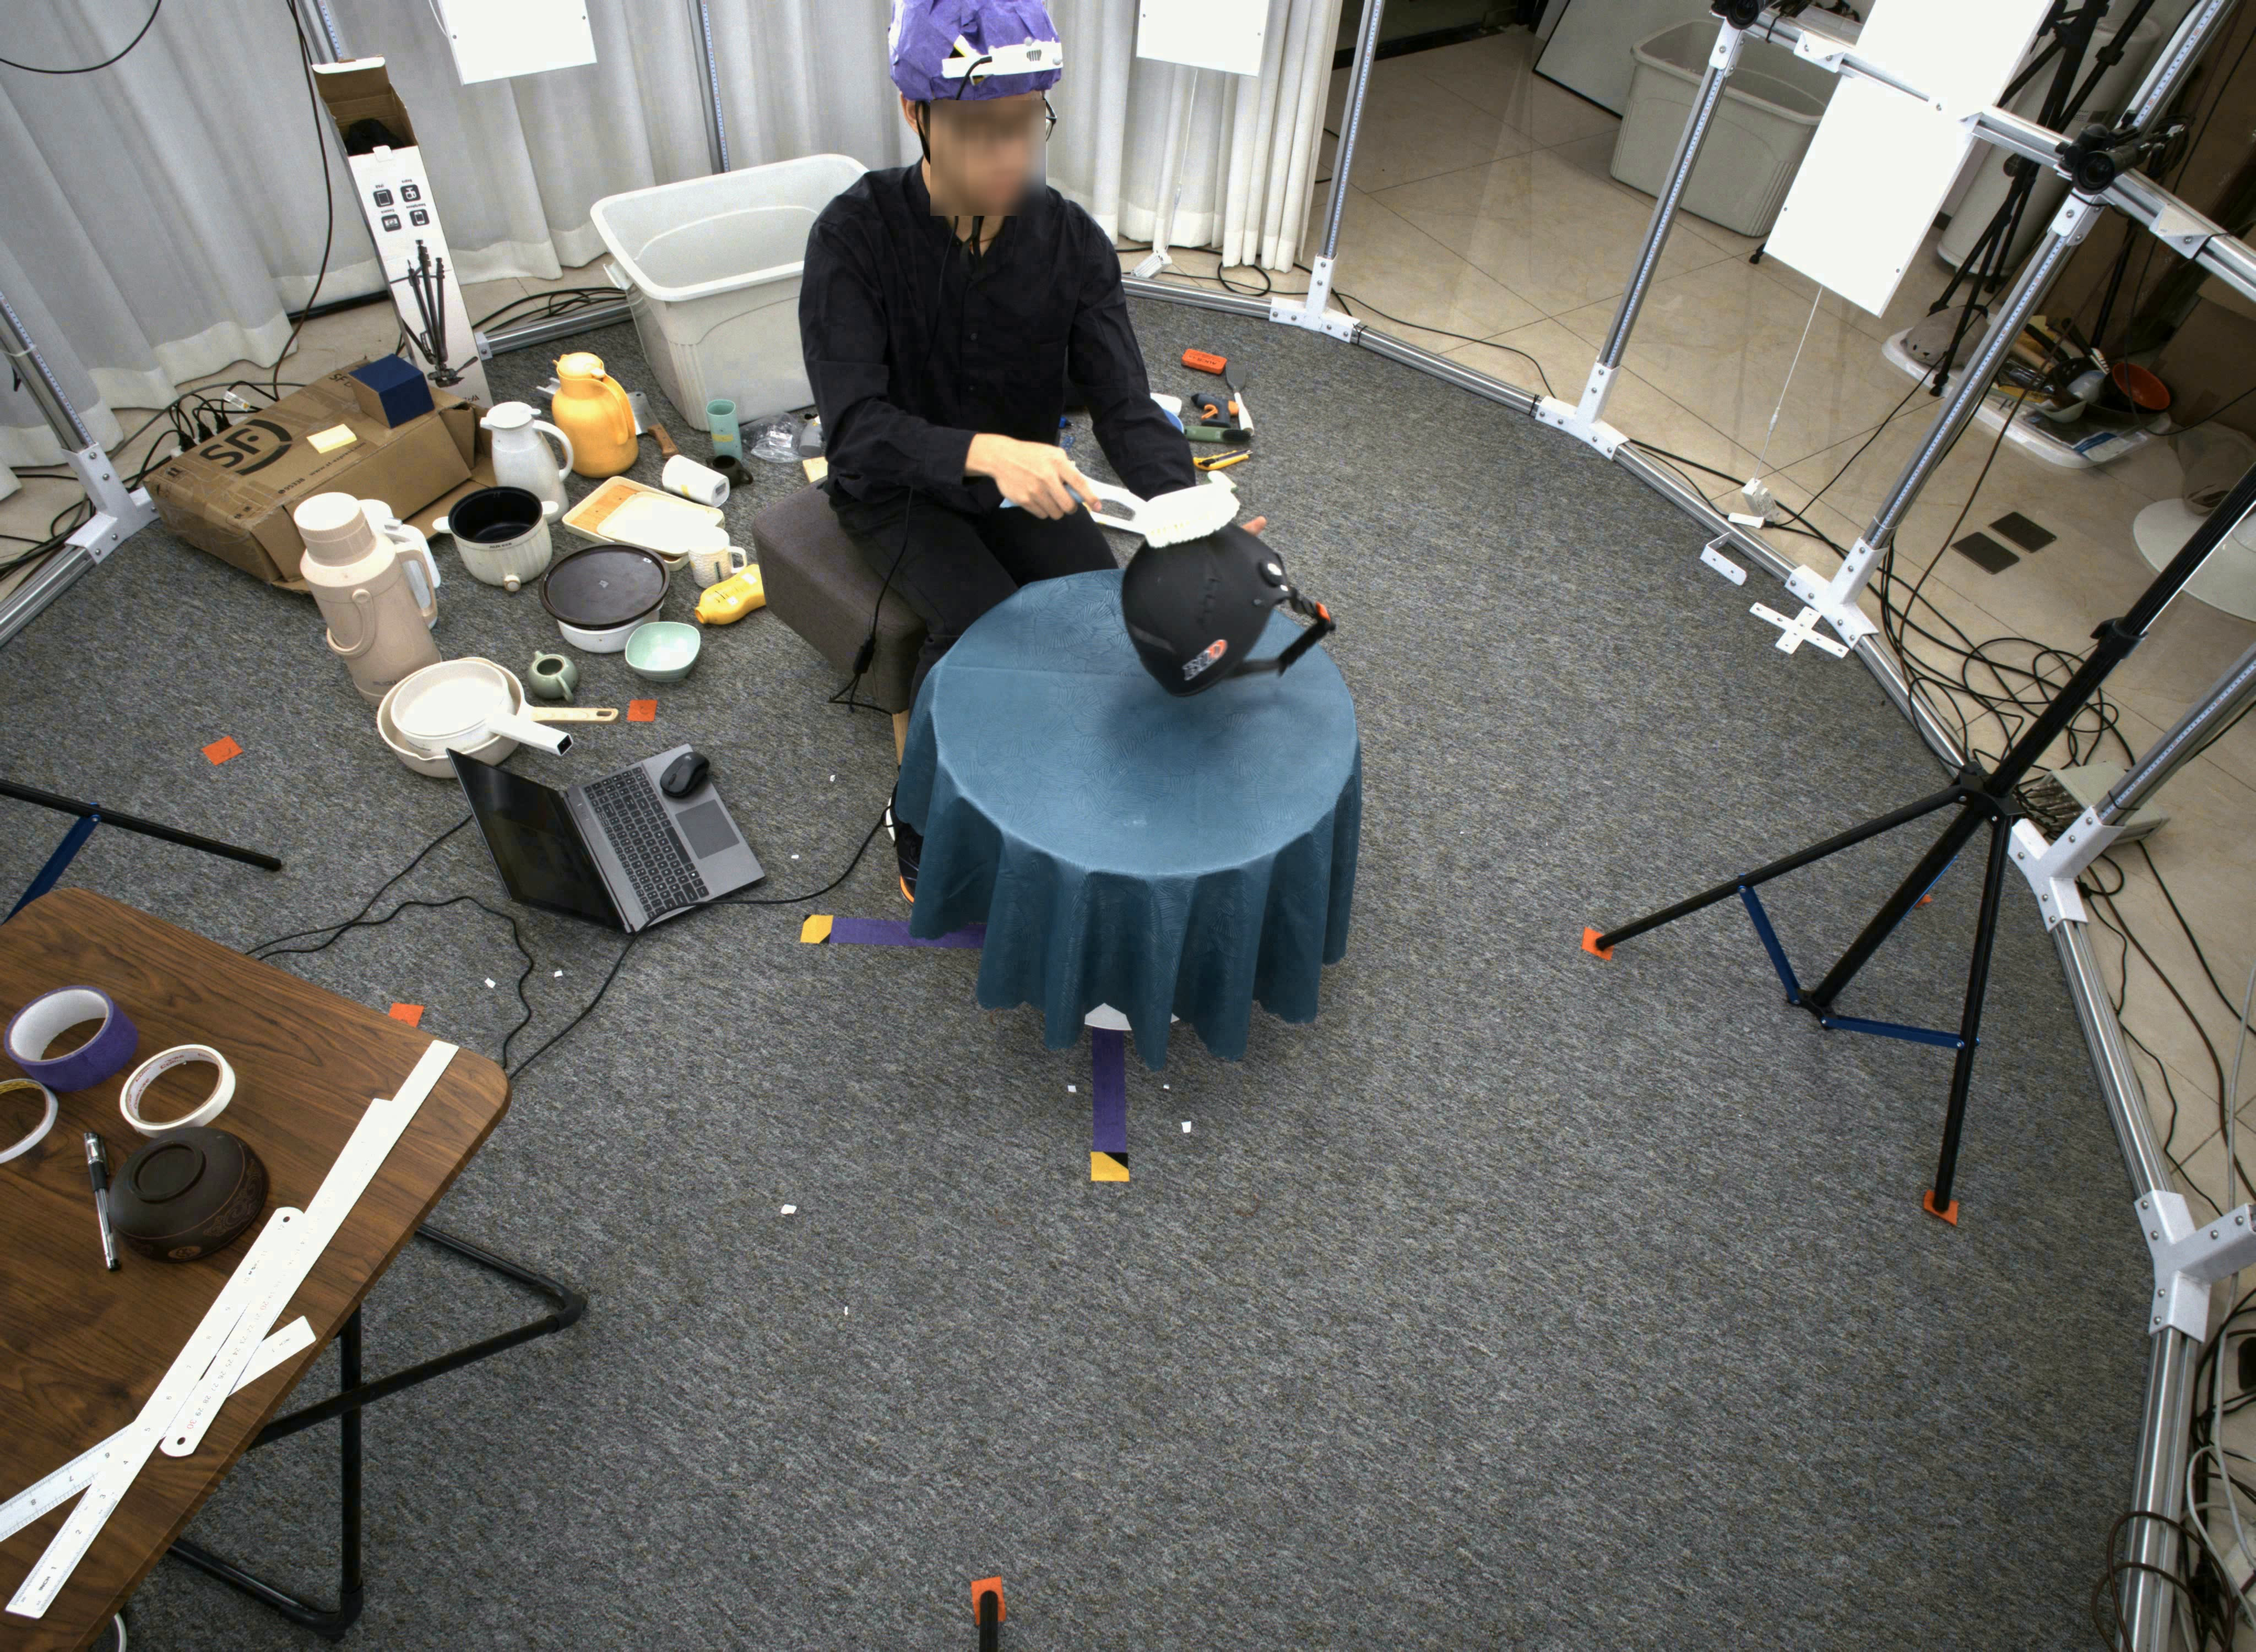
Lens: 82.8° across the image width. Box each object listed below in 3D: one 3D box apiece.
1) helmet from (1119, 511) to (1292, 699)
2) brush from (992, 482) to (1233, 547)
[{"bbox_3d":[0.086,-0.315,1.703,0.170,0.244,0.283,37,33,-29],"label":"helmet"},{"bbox_3d":[-0.020,-0.405,1.683,0.326,0.084,0.083,3,9,21],"label":"brush"}]
